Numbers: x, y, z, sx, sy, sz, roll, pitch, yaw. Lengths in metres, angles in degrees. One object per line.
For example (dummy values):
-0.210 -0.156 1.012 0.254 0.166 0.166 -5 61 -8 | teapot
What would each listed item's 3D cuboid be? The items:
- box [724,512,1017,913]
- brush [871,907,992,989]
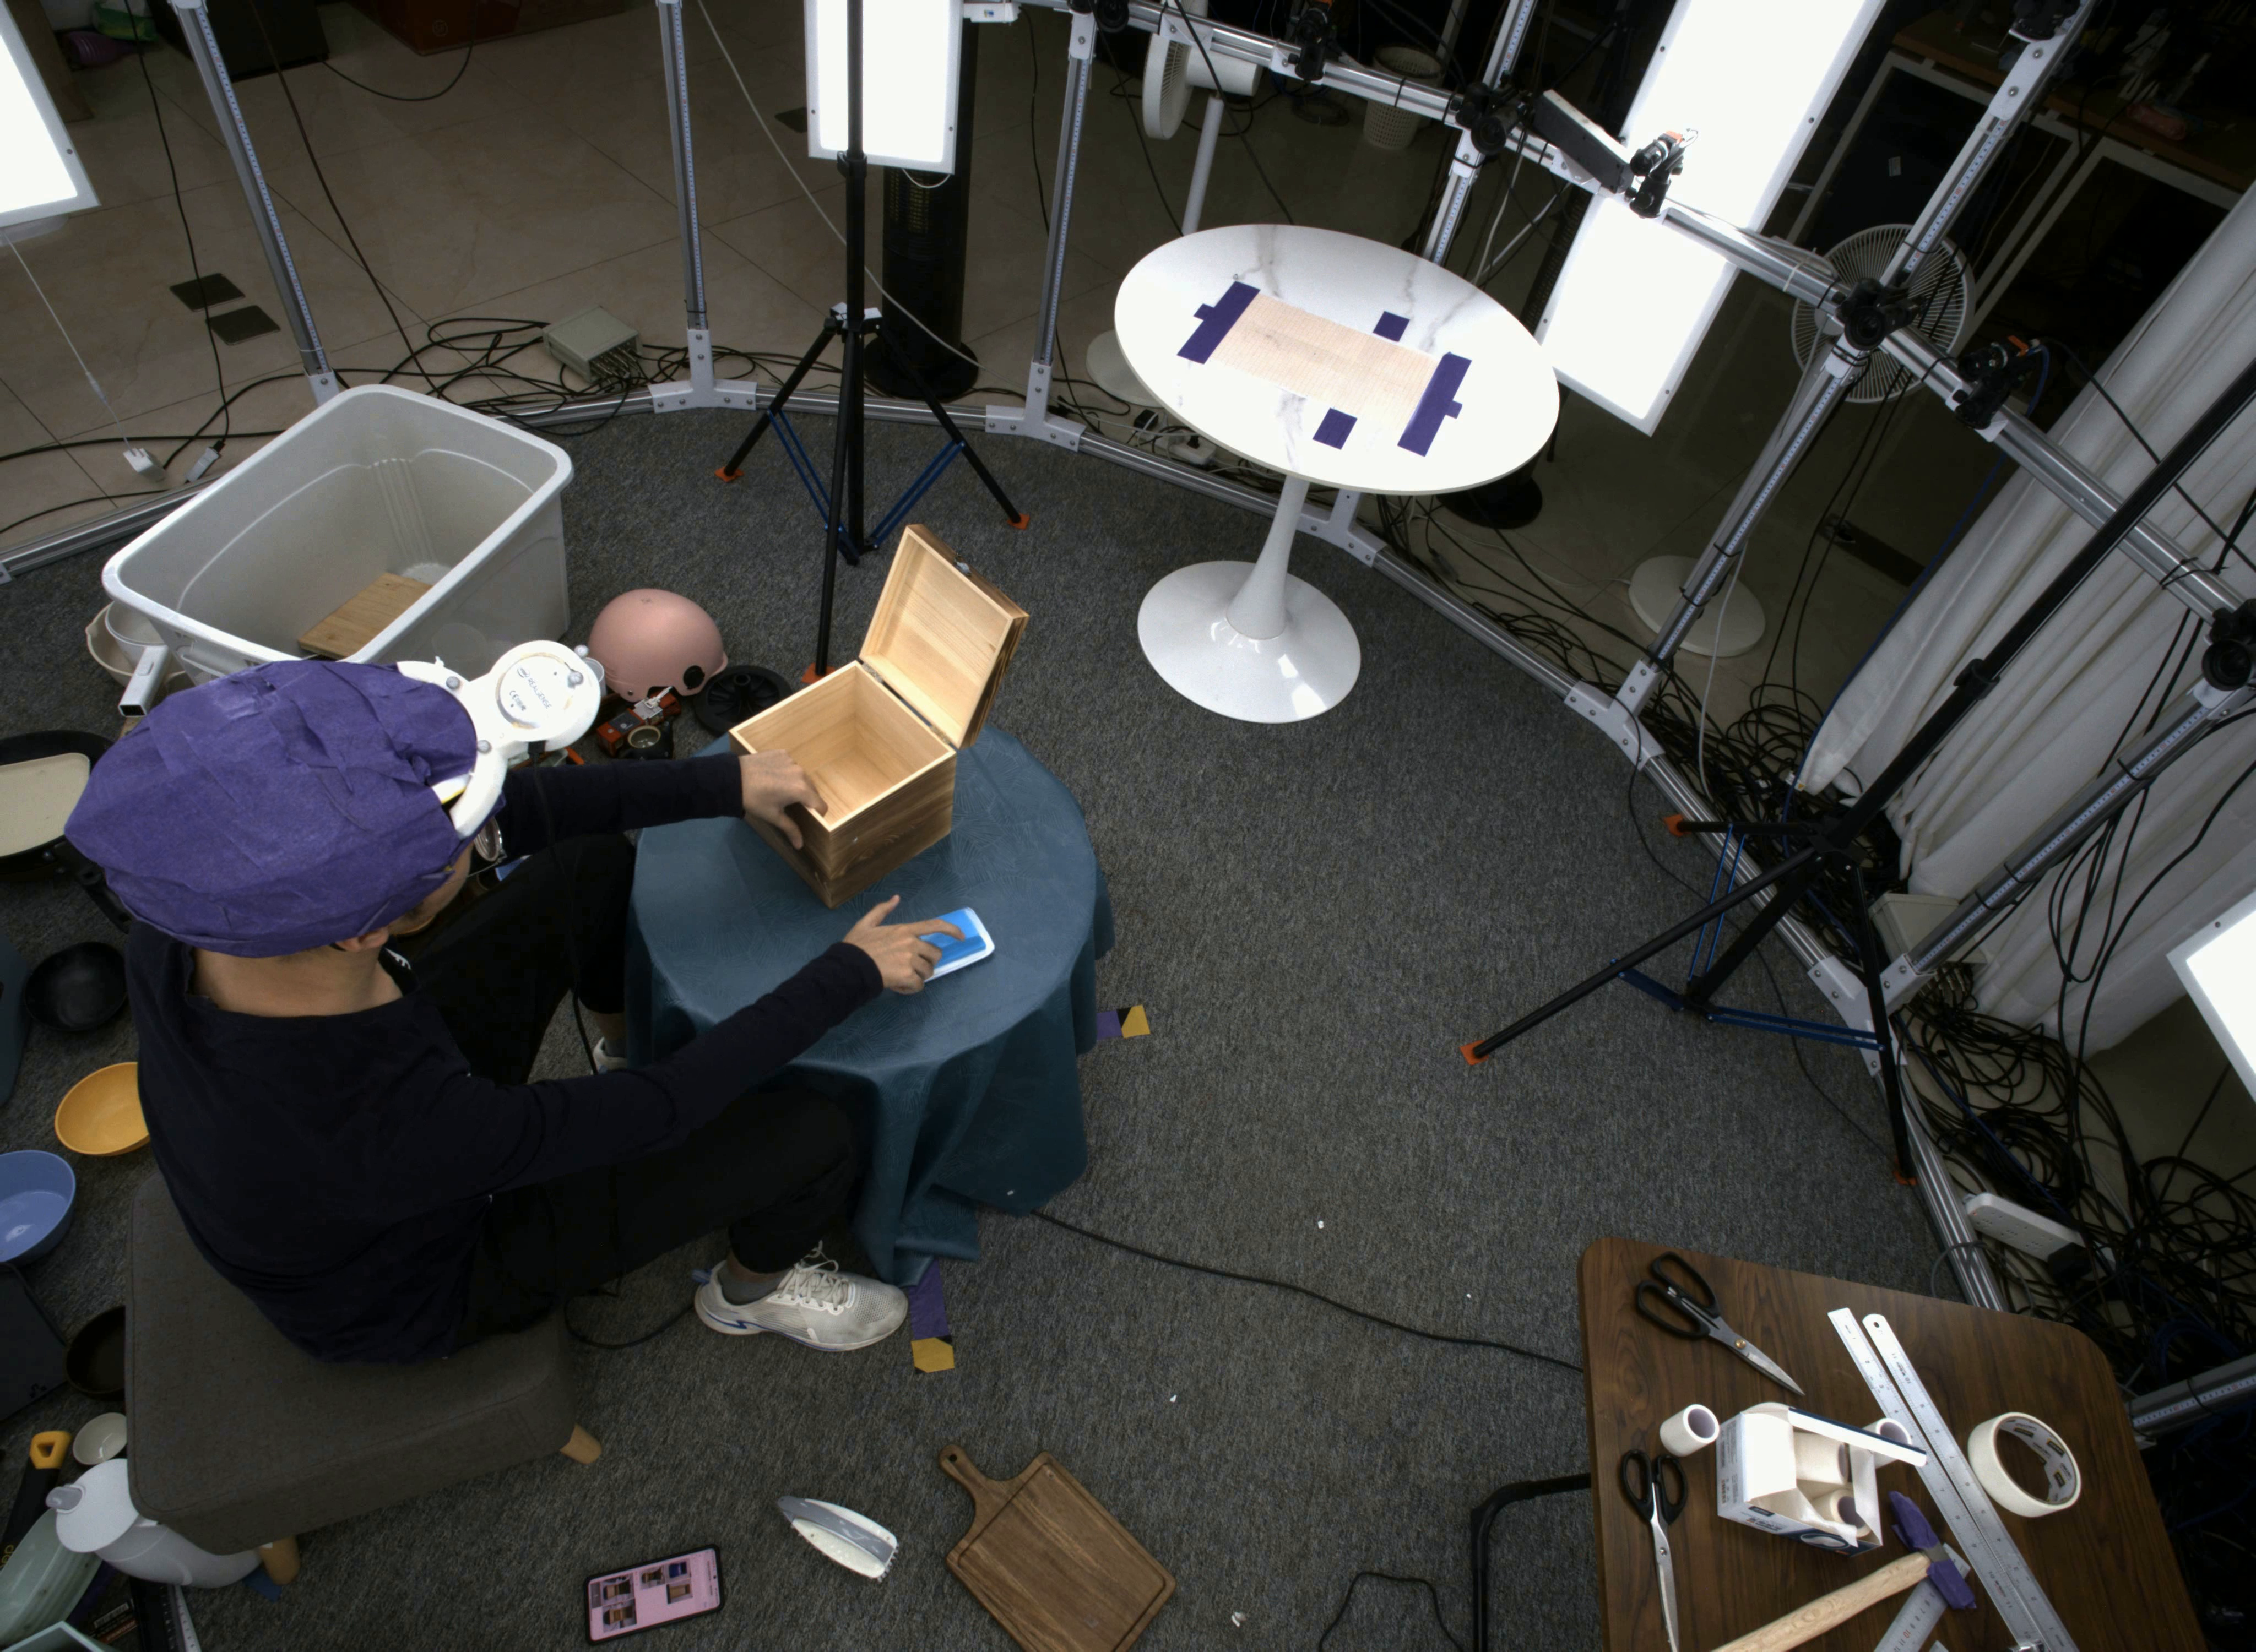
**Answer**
-0.321 -0.143 1.624 0.204 0.384 0.323 40 56 20 | box
-0.245 0.142 1.625 0.145 0.057 0.081 -18 56 -26 | brush
